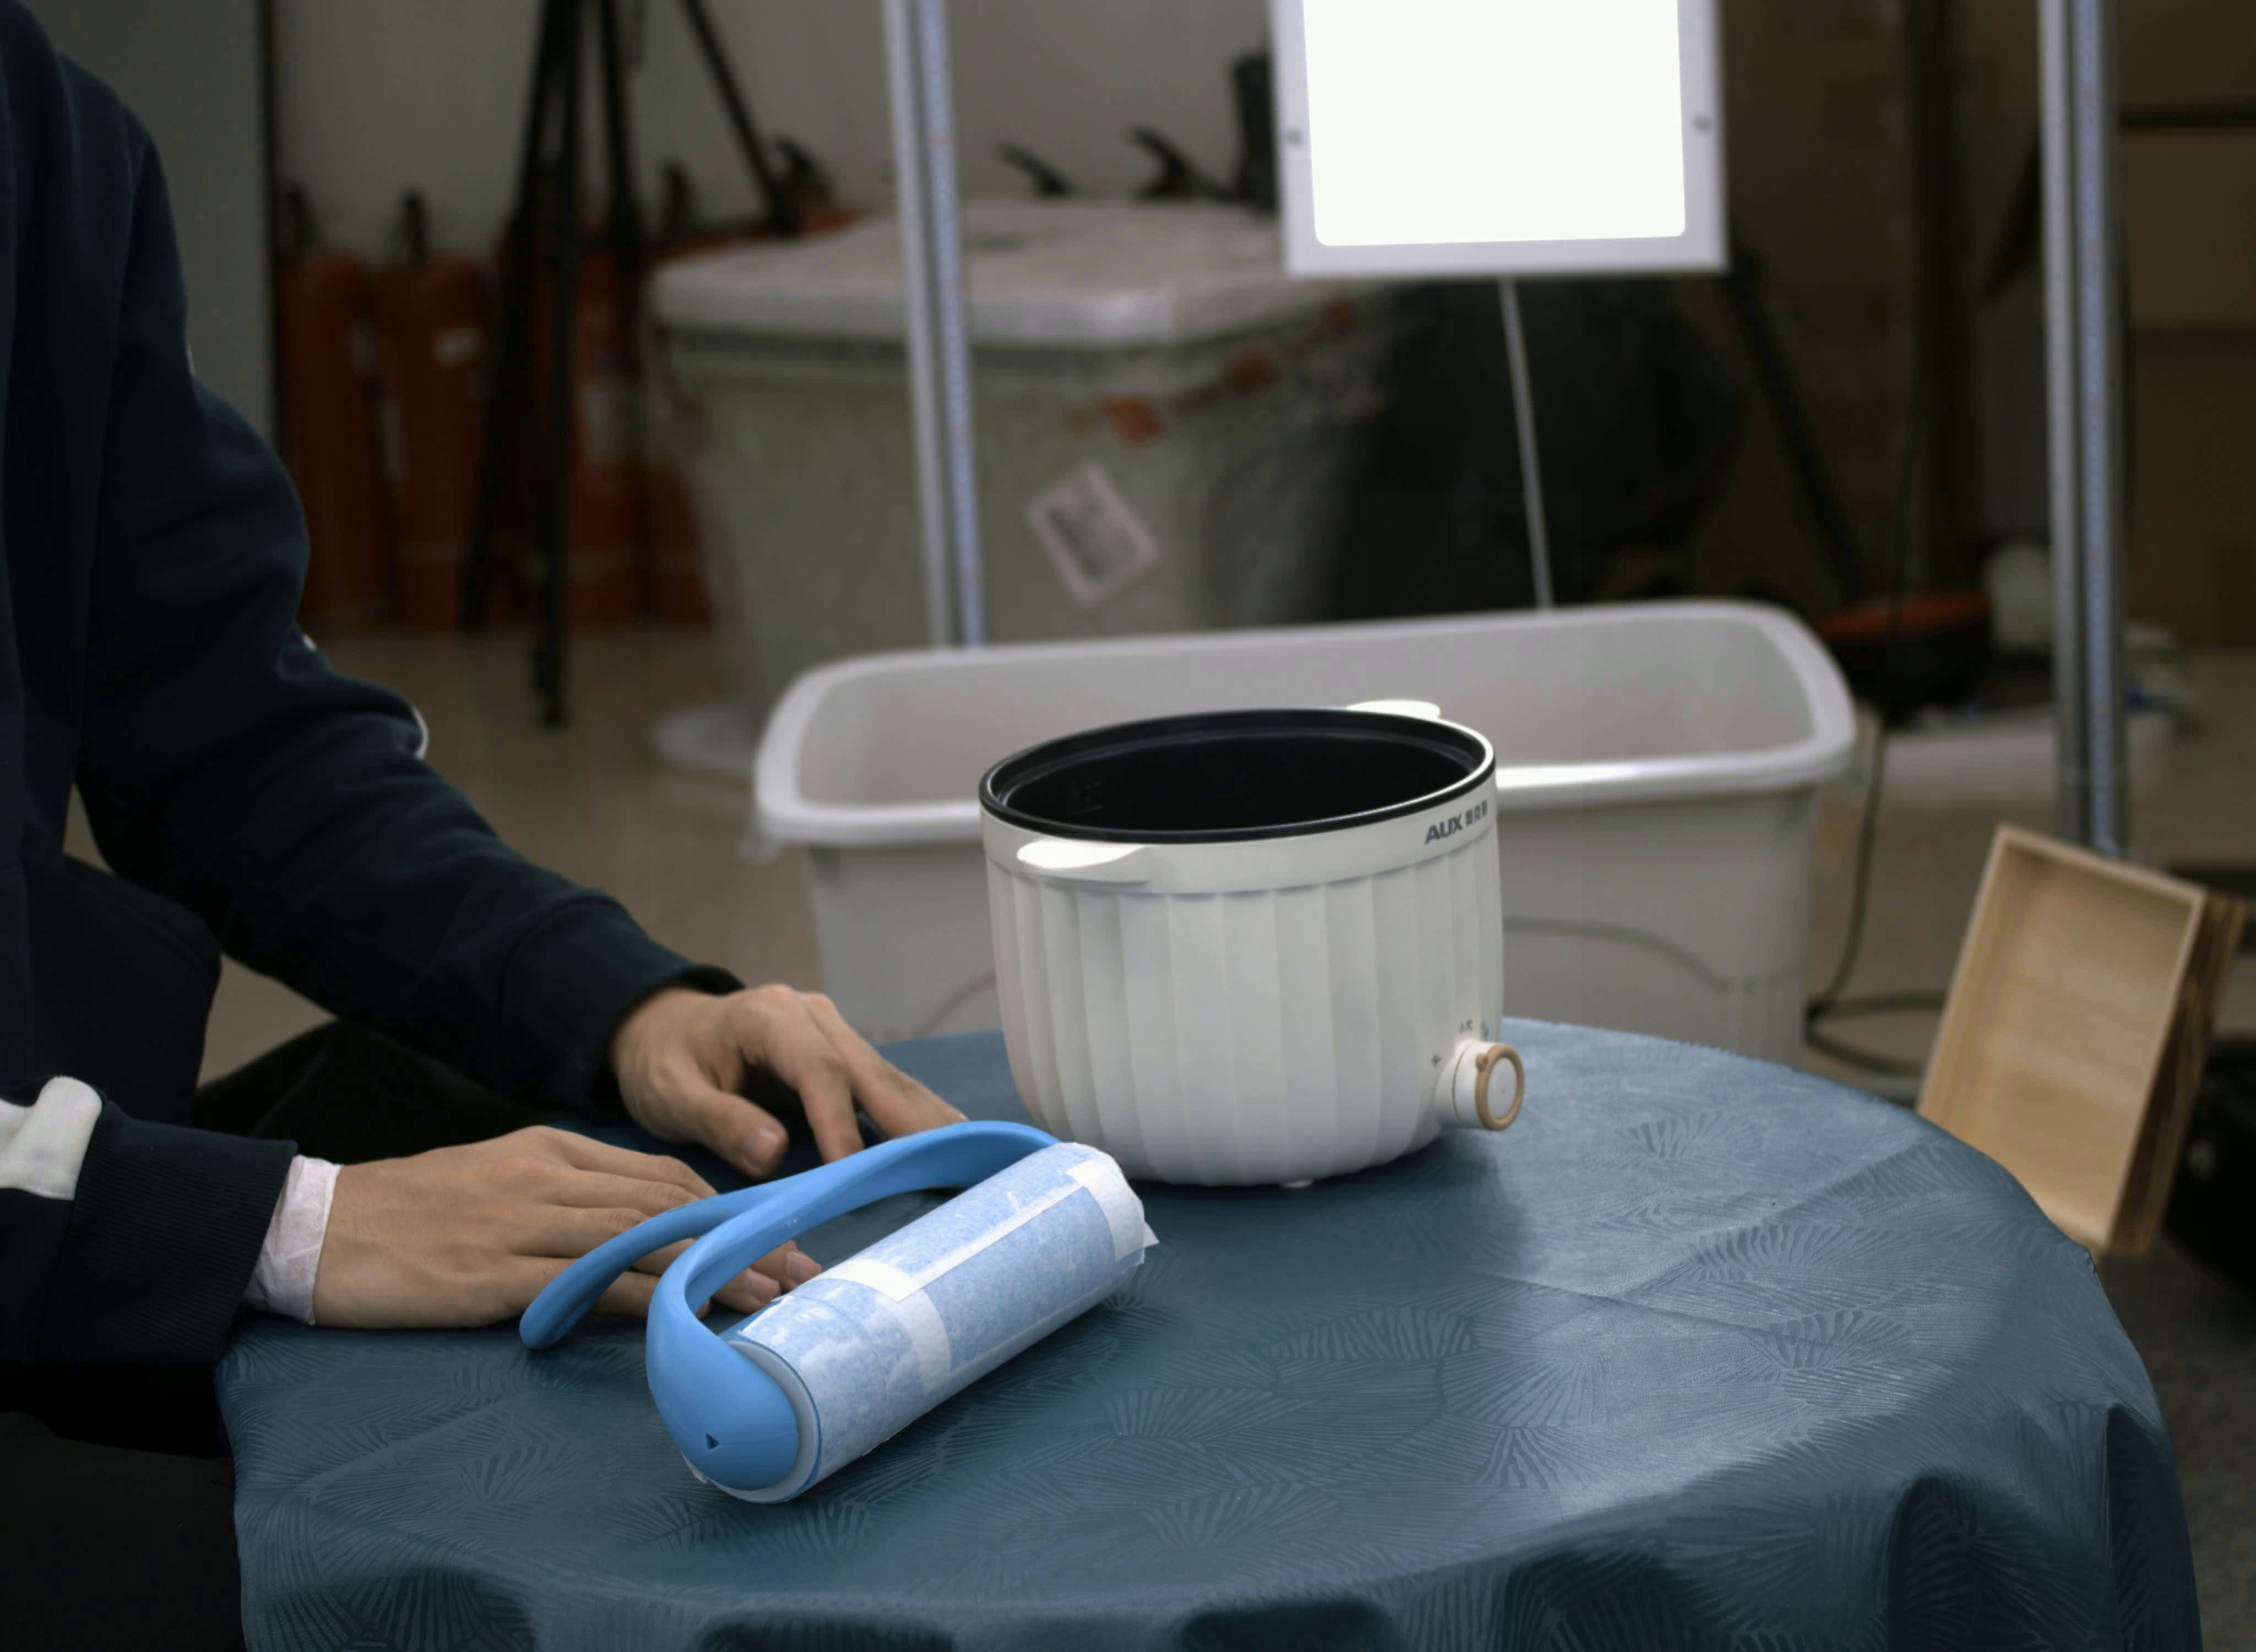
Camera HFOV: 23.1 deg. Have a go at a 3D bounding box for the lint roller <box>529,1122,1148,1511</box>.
[{"bbox_3d":[-0.115,0.148,1.733,0.183,0.068,0.224,4,18,28],"label":"lint roller"}]

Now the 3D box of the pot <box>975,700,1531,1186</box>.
[{"bbox_3d":[0.048,0.044,1.923,0.194,0.143,0.234,1,16,35],"label":"pot"}]
